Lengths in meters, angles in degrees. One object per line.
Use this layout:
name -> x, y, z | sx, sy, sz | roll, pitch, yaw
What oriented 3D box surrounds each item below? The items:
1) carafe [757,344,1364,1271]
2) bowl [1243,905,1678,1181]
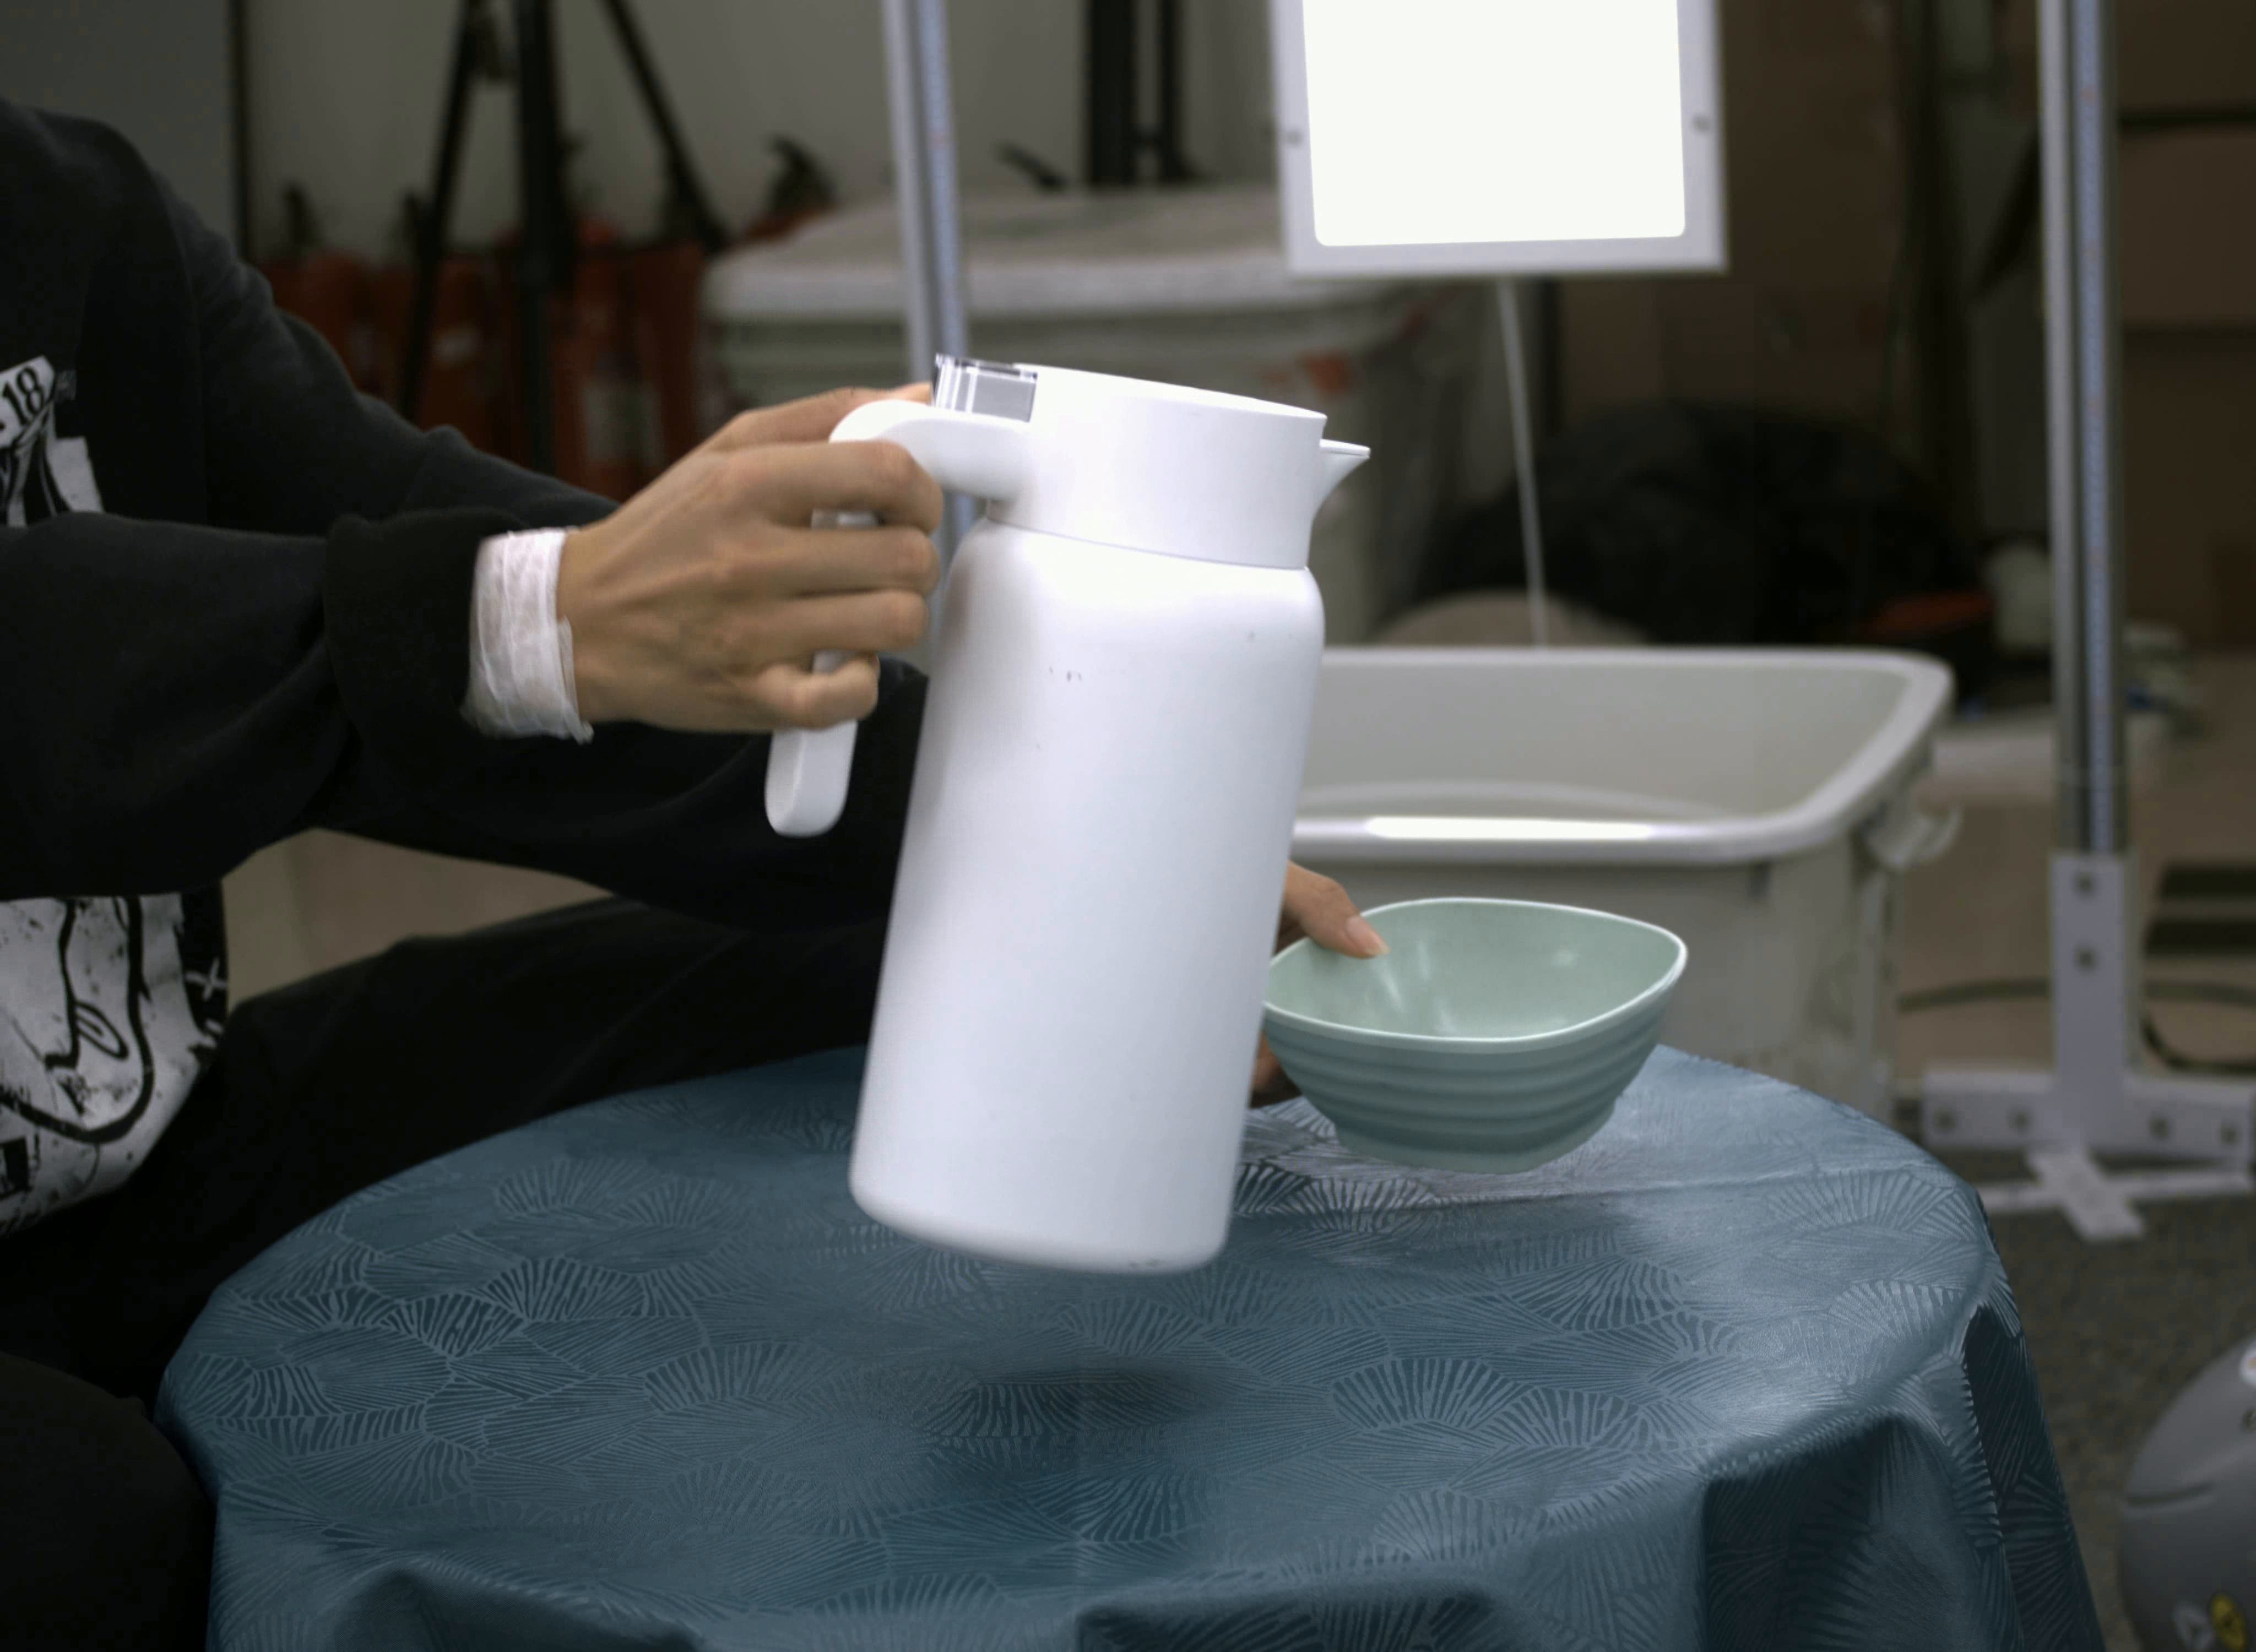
carafe -> -0.027, -0.008, 1.667 | 0.169, 0.270, 0.125 | 7, 9, -22
bowl -> 0.114, 0.077, 1.863 | 0.151, 0.059, 0.151 | -5, 17, 0
